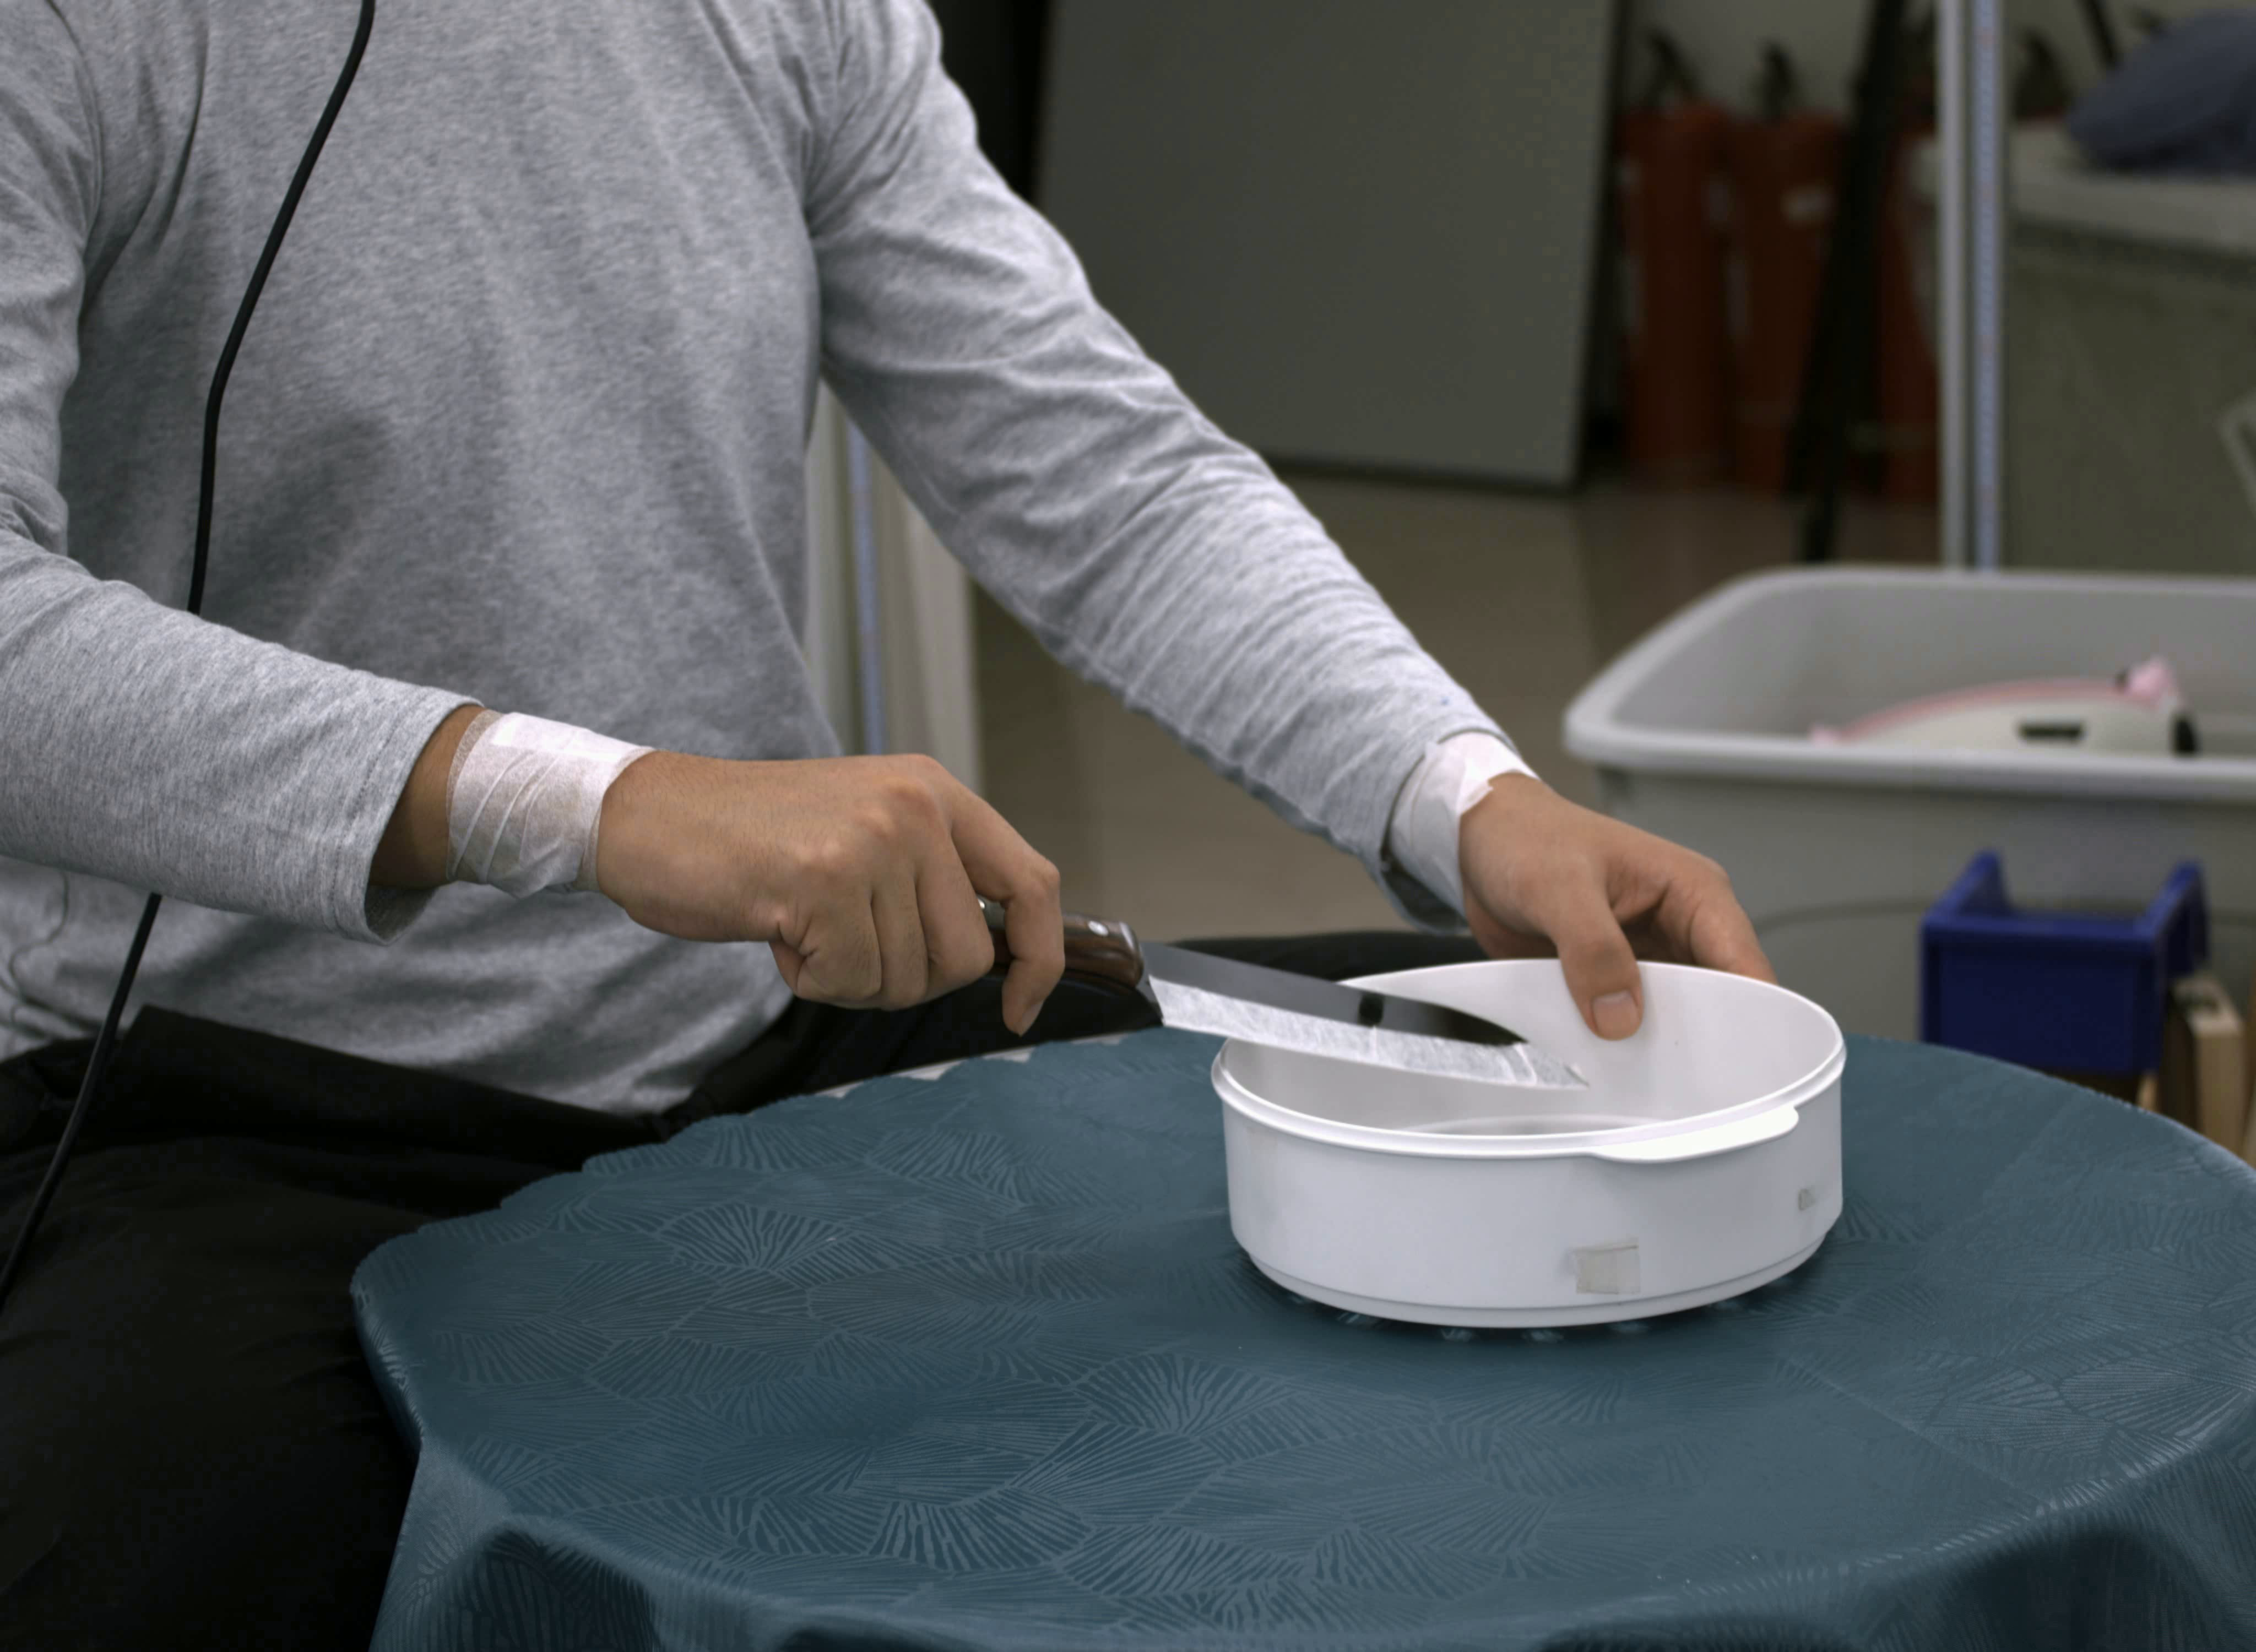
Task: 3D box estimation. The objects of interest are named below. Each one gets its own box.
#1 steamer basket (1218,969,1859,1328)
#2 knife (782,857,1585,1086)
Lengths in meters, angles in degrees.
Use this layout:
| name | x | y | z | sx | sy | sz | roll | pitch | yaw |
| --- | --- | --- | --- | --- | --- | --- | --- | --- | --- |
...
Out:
| name | x | y | z | sx | sy | sz | roll | pitch | yaw |
| --- | --- | --- | --- | --- | --- | --- | --- | --- | --- |
| steamer basket | 0.129 | 0.101 | 1.680 | 0.197 | 0.070 | 0.233 | -10 | 14 | -24 |
| knife | 0.023 | 0.049 | 1.686 | 0.283 | 0.020 | 0.051 | 14 | 32 | -25 |
